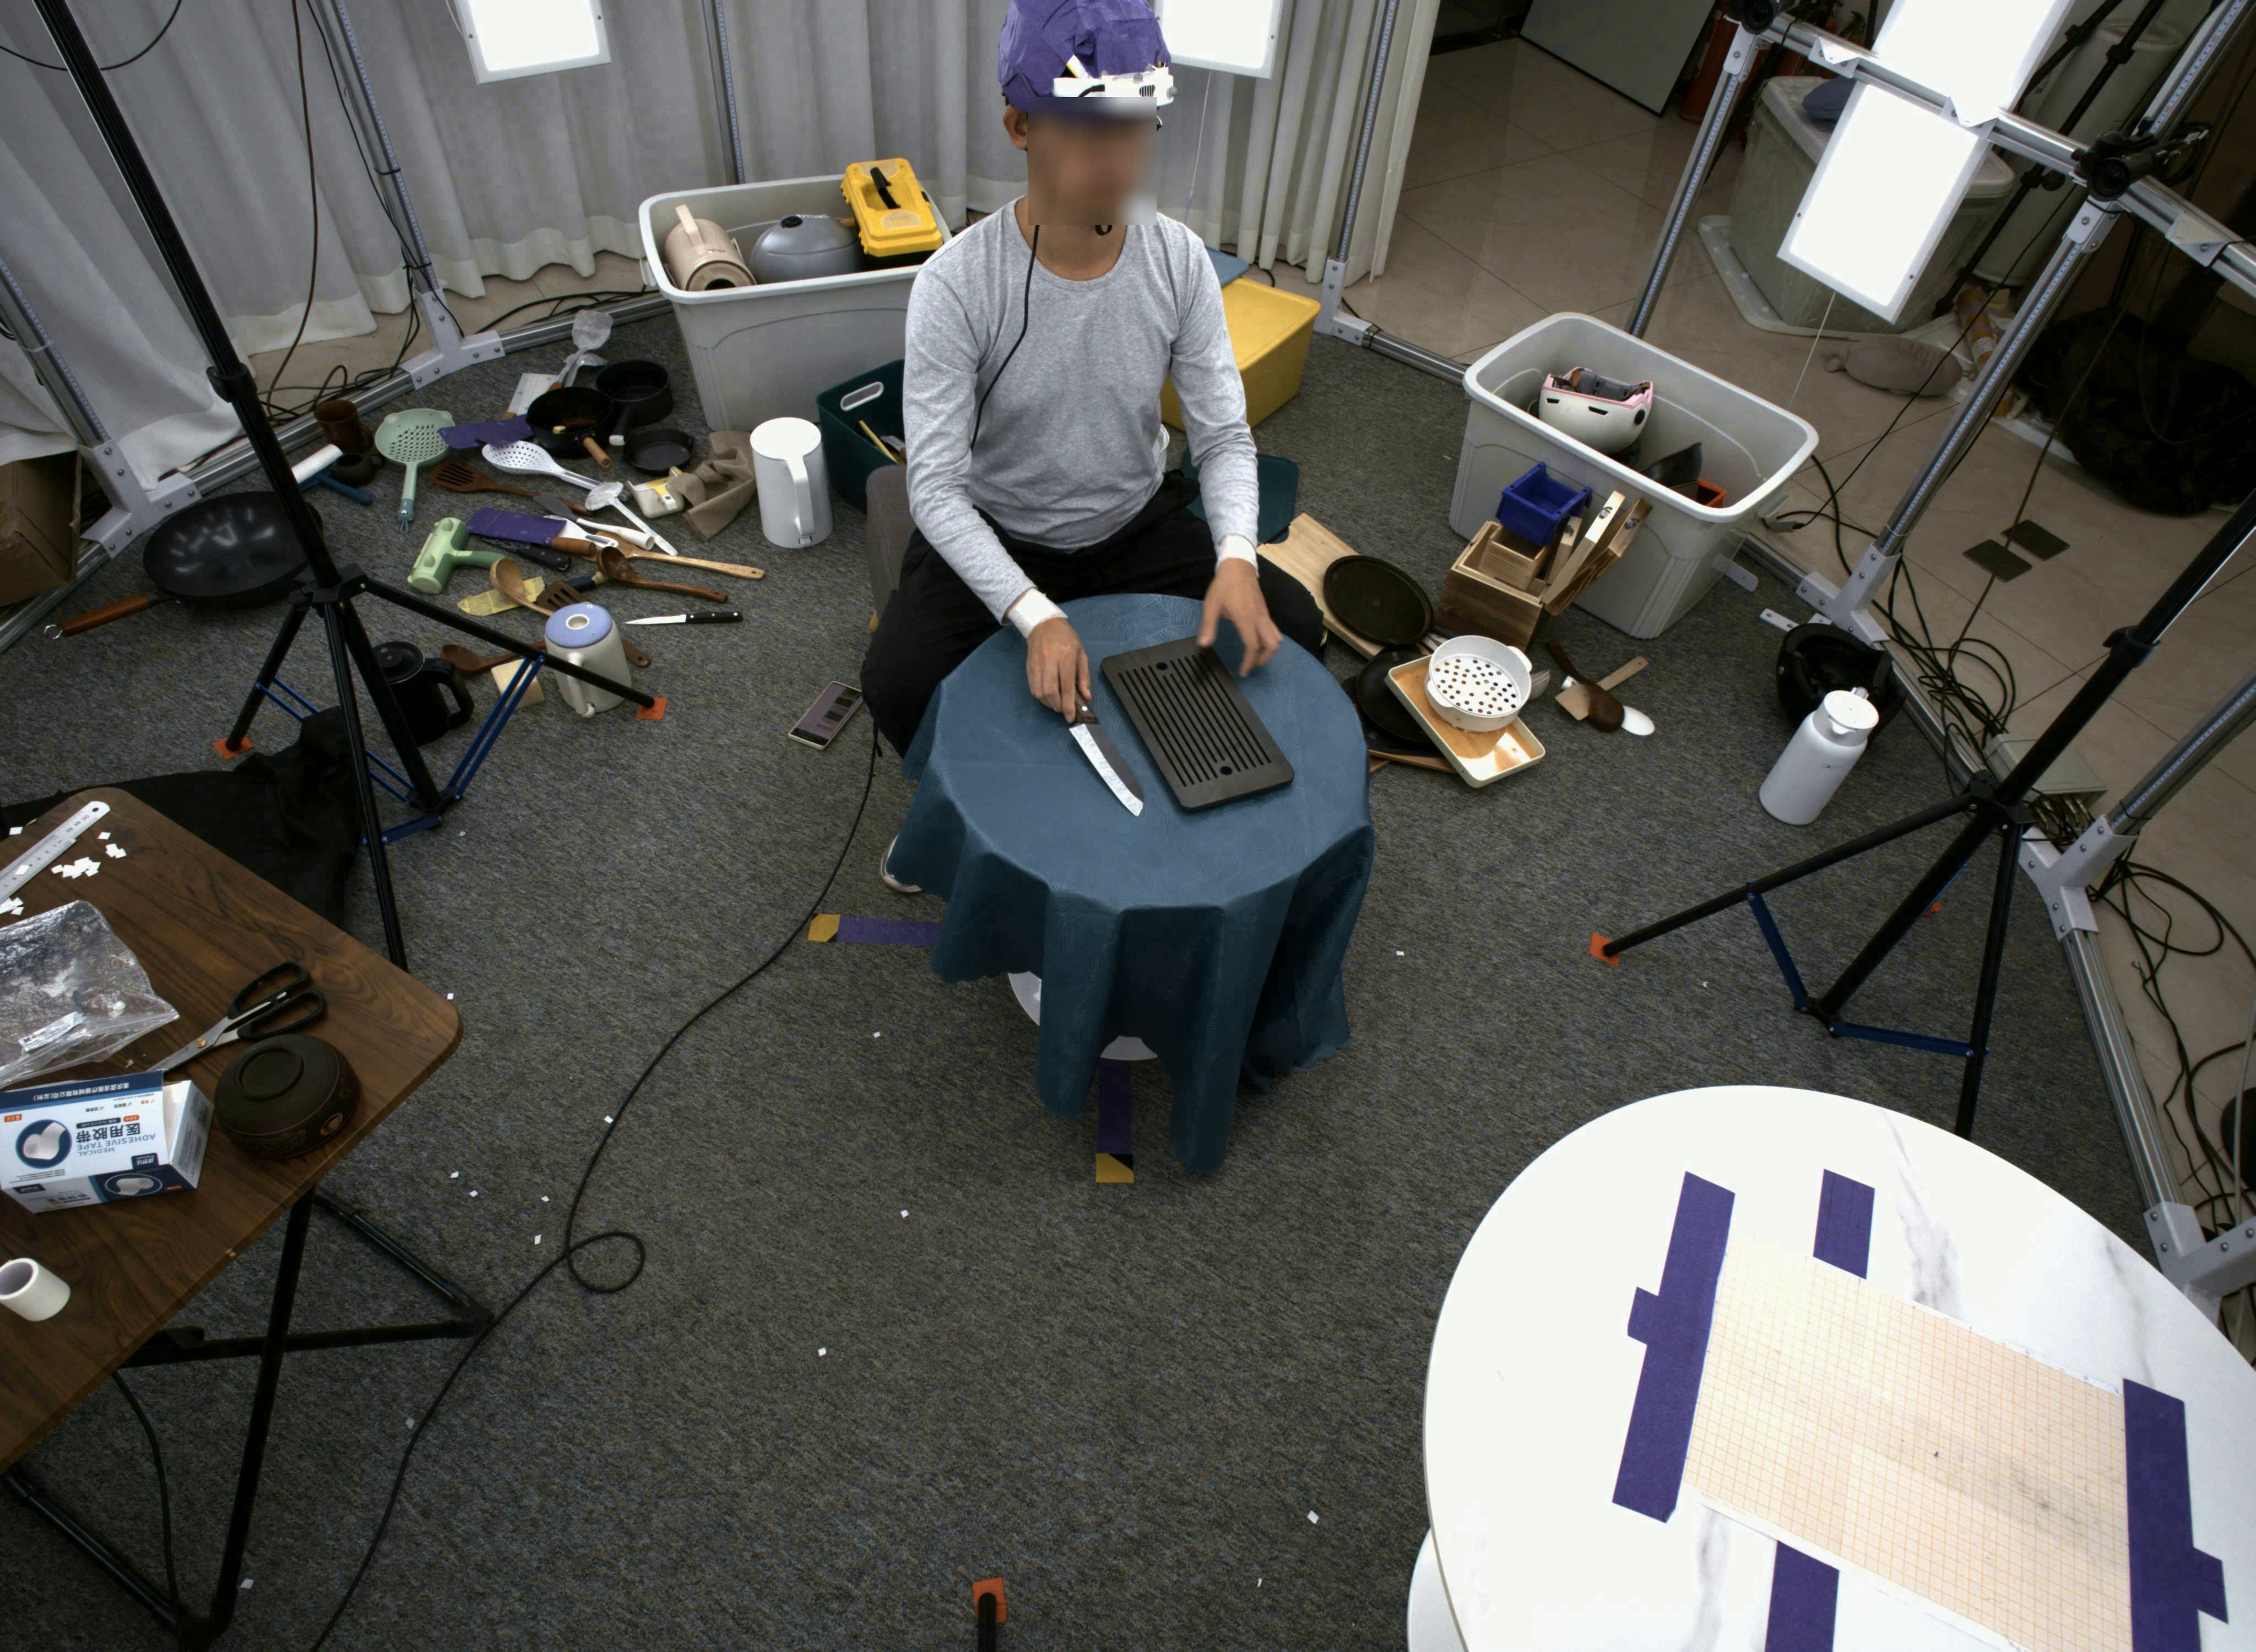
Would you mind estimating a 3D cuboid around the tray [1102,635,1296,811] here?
[{"bbox_3d":[0.094,-0.149,1.791,0.170,0.018,0.313,-15,51,-16],"label":"tray"}]

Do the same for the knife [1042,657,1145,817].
[{"bbox_3d":[-0.049,-0.124,1.750,0.050,0.019,0.295,-19,59,-19],"label":"knife"}]
